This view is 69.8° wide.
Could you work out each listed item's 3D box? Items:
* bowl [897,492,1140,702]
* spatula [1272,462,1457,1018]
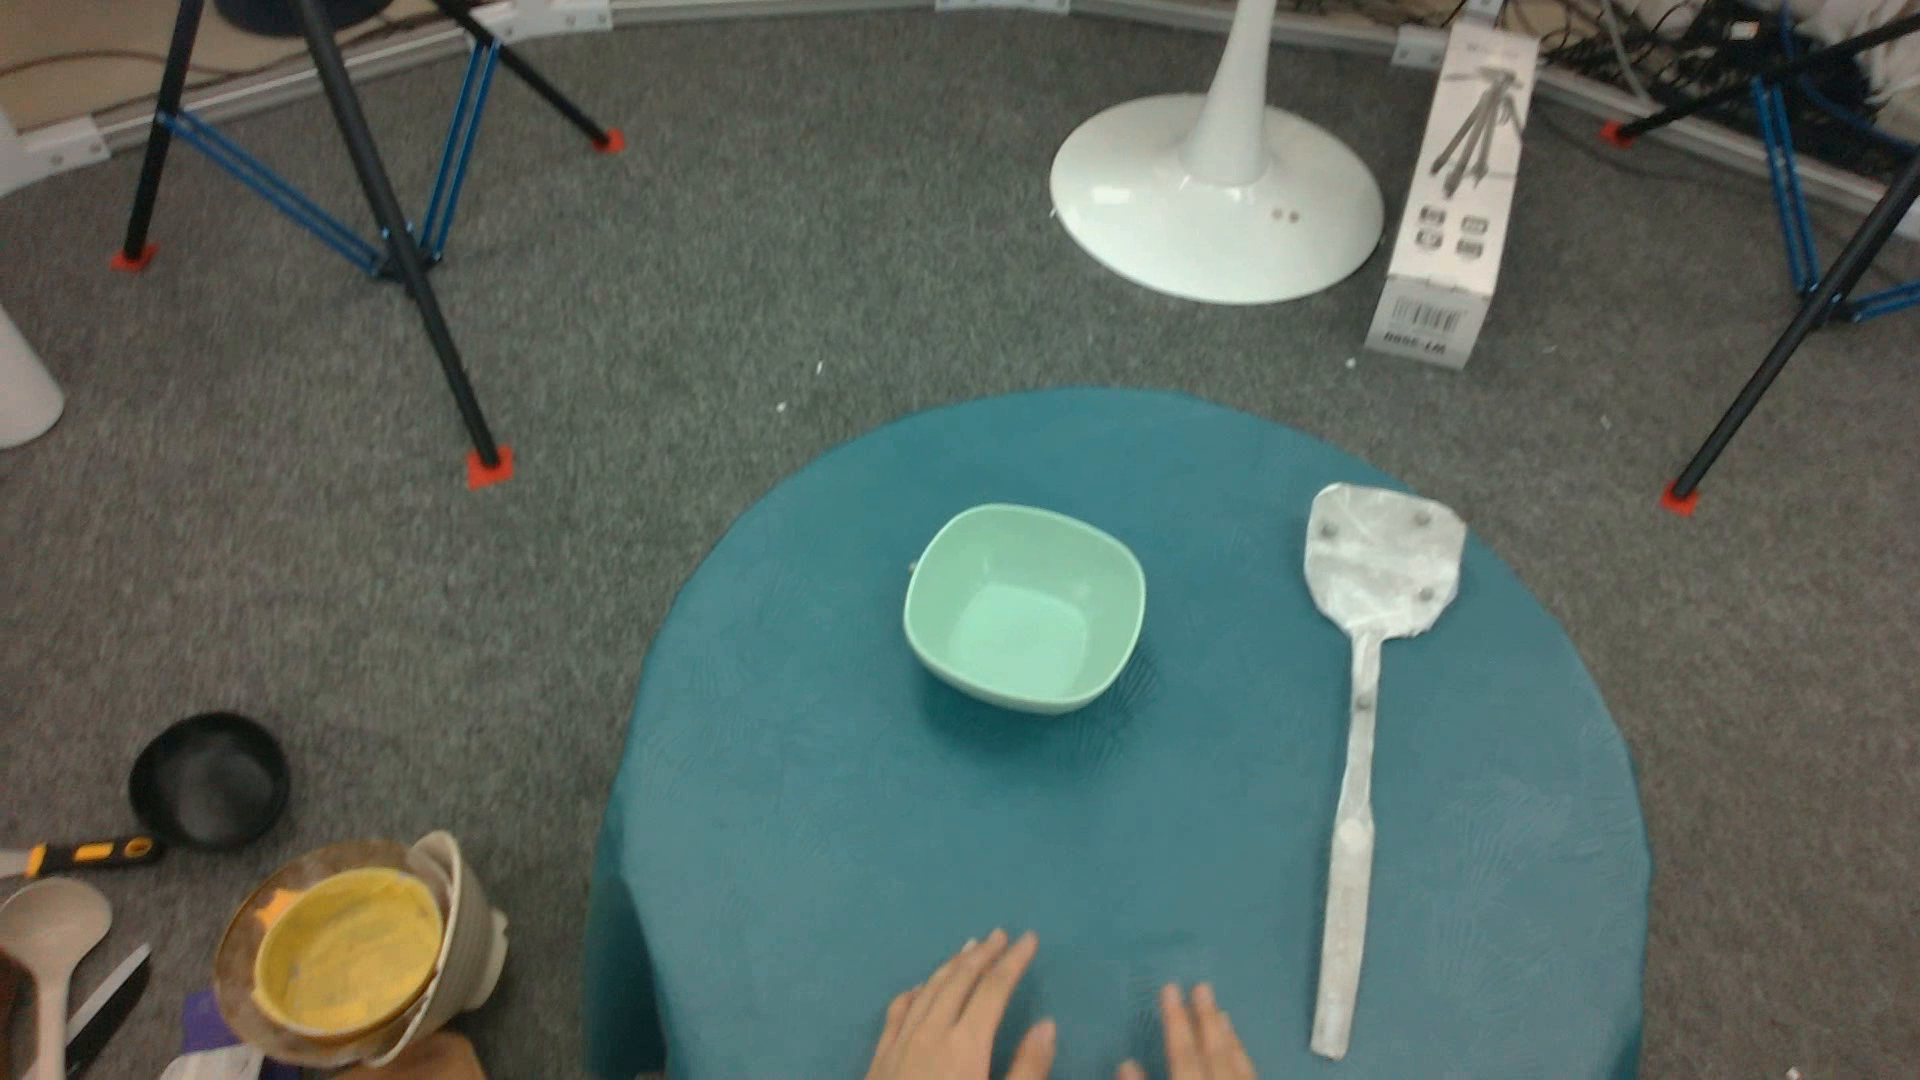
[{"bbox_3d":[0.035,0.044,0.834,0.151,0.058,0.152,1,51,-2],"label":"bowl"},{"bbox_3d":[0.228,0.104,0.812,0.098,0.044,0.367,16,53,6],"label":"spatula"}]
